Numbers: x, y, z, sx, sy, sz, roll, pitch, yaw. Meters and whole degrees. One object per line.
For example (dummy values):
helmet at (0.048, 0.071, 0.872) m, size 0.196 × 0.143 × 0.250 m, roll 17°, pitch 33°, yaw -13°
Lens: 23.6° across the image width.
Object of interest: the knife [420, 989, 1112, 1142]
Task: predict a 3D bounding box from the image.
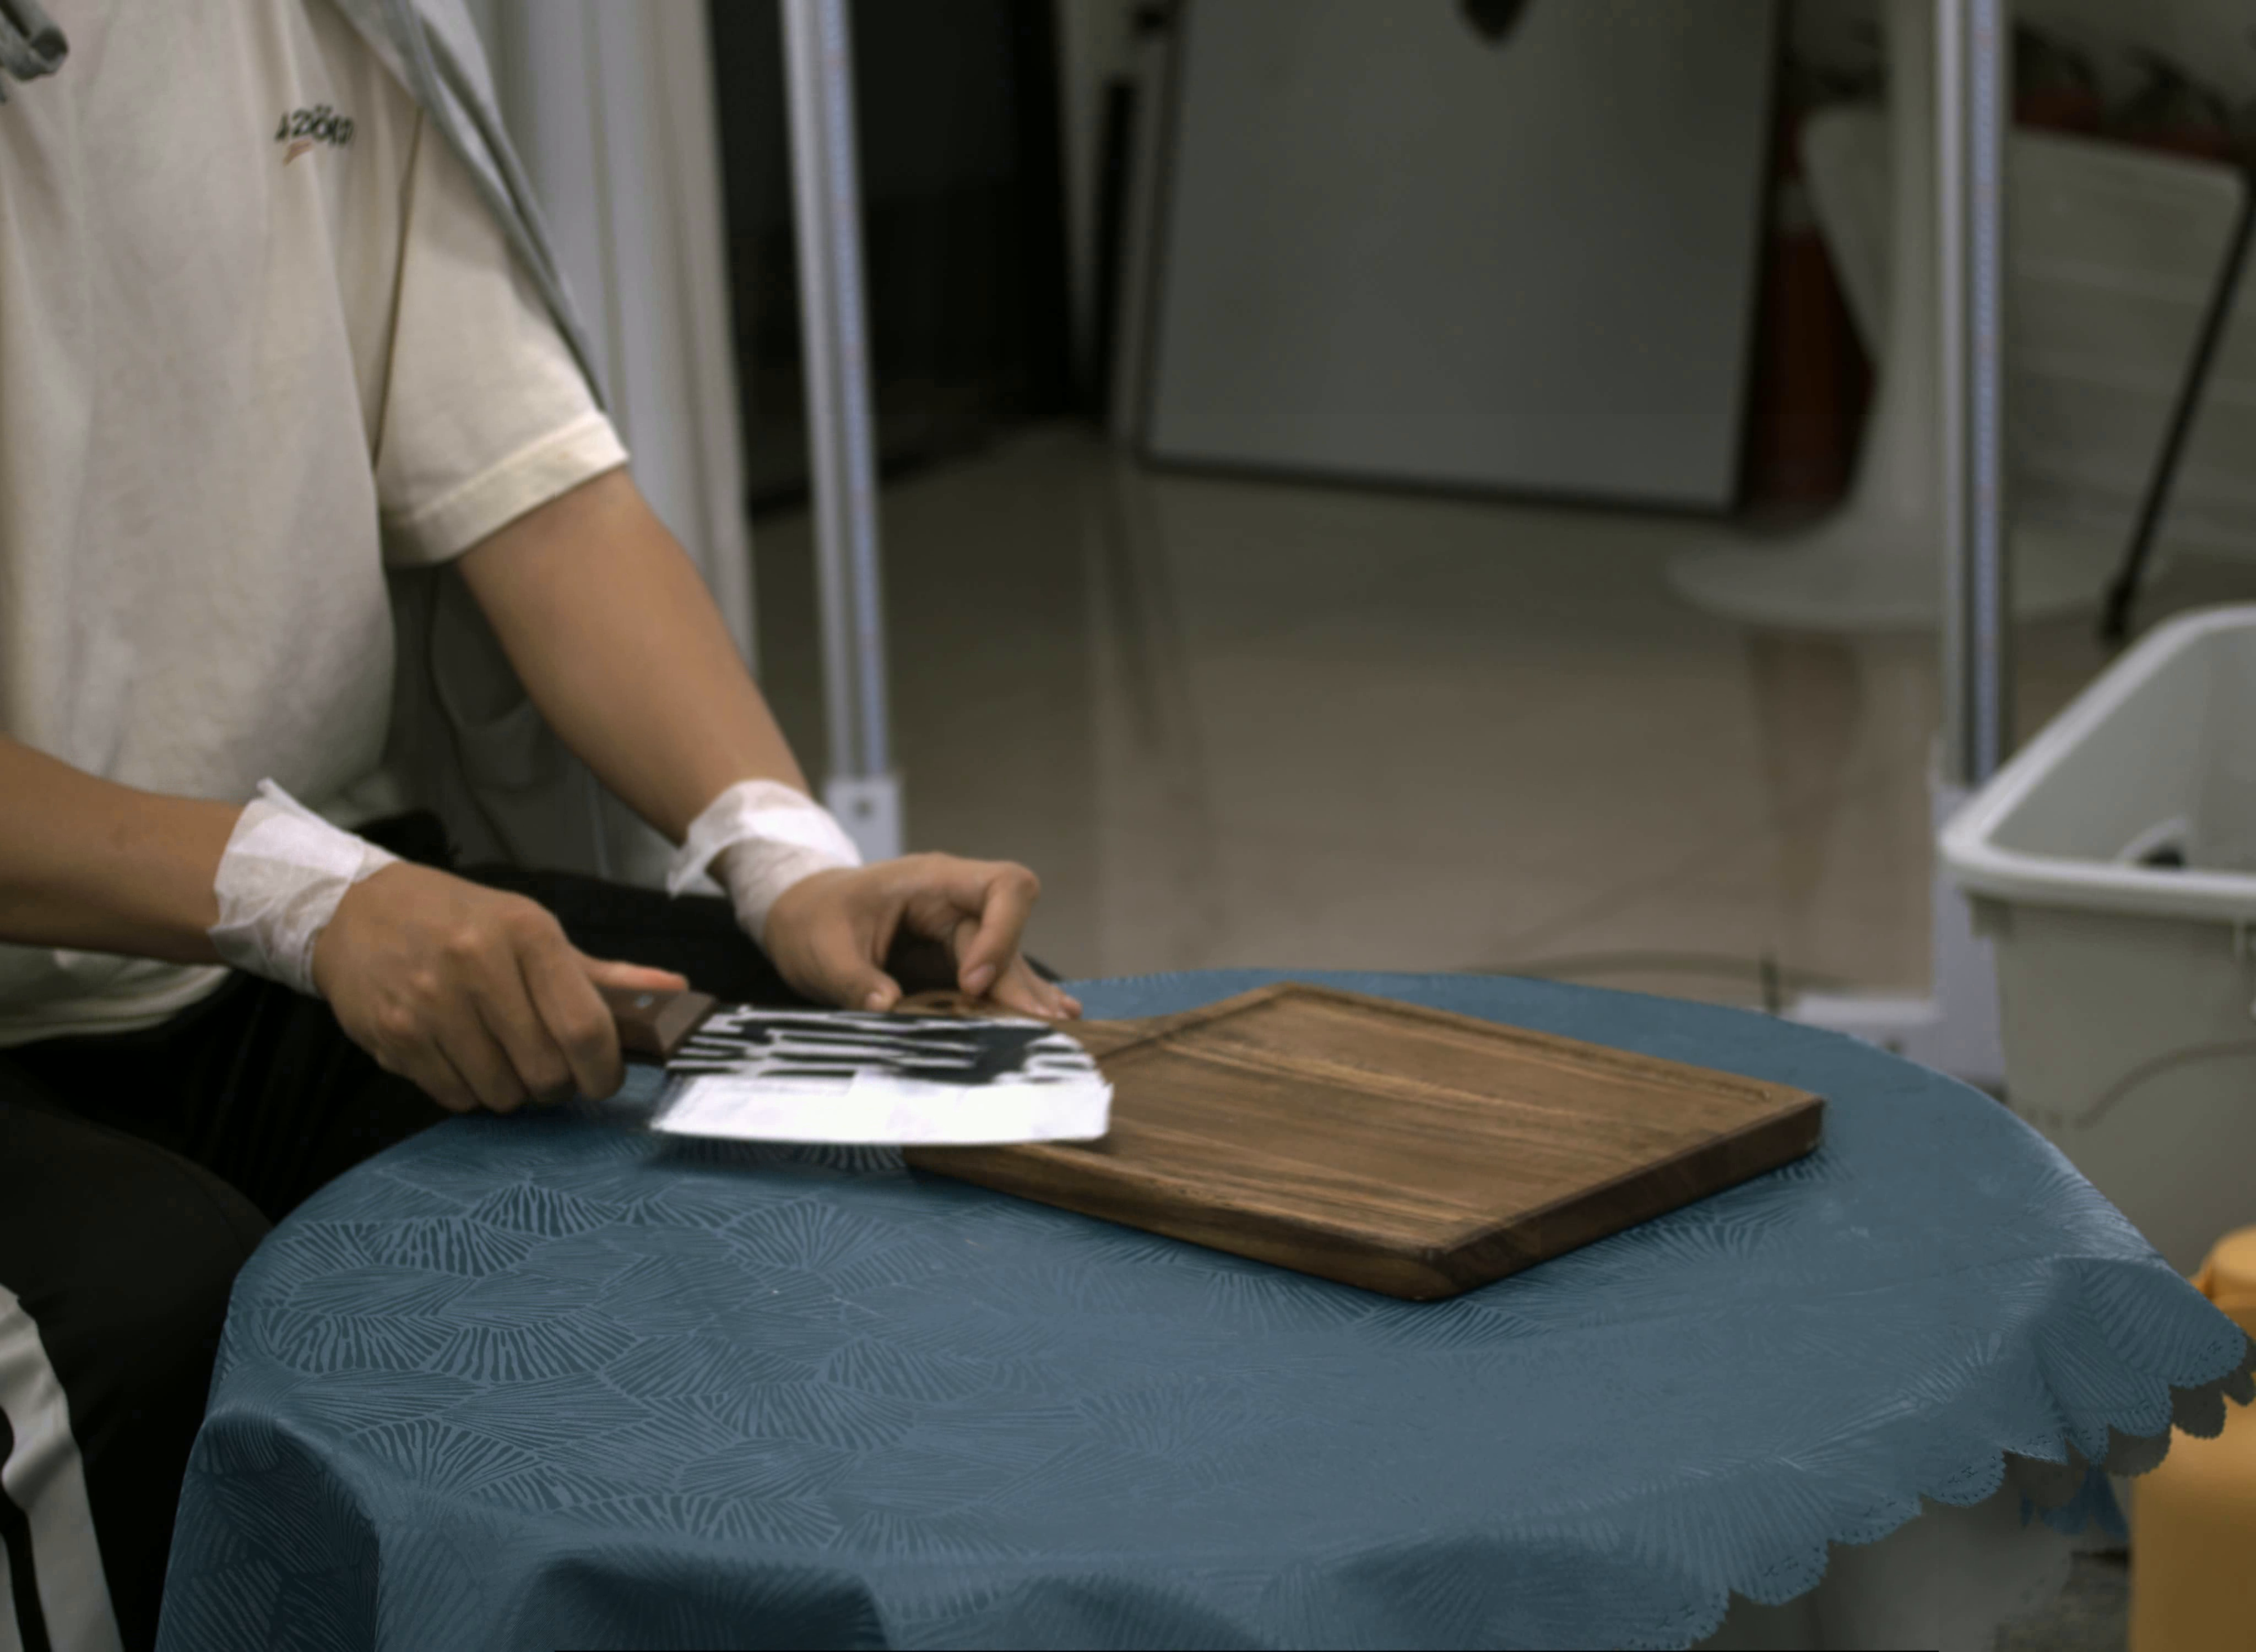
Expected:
knife at (-0.130, 0.084, 1.851) m, size 0.300 × 0.024 × 0.068 m, roll 2°, pitch 38°, yaw 29°

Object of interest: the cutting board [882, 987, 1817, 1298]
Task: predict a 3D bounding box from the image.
cutting board at (0.041, 0.095, 1.826) m, size 0.197 × 0.023 × 0.355 m, roll -17°, pitch 18°, yaw -41°
